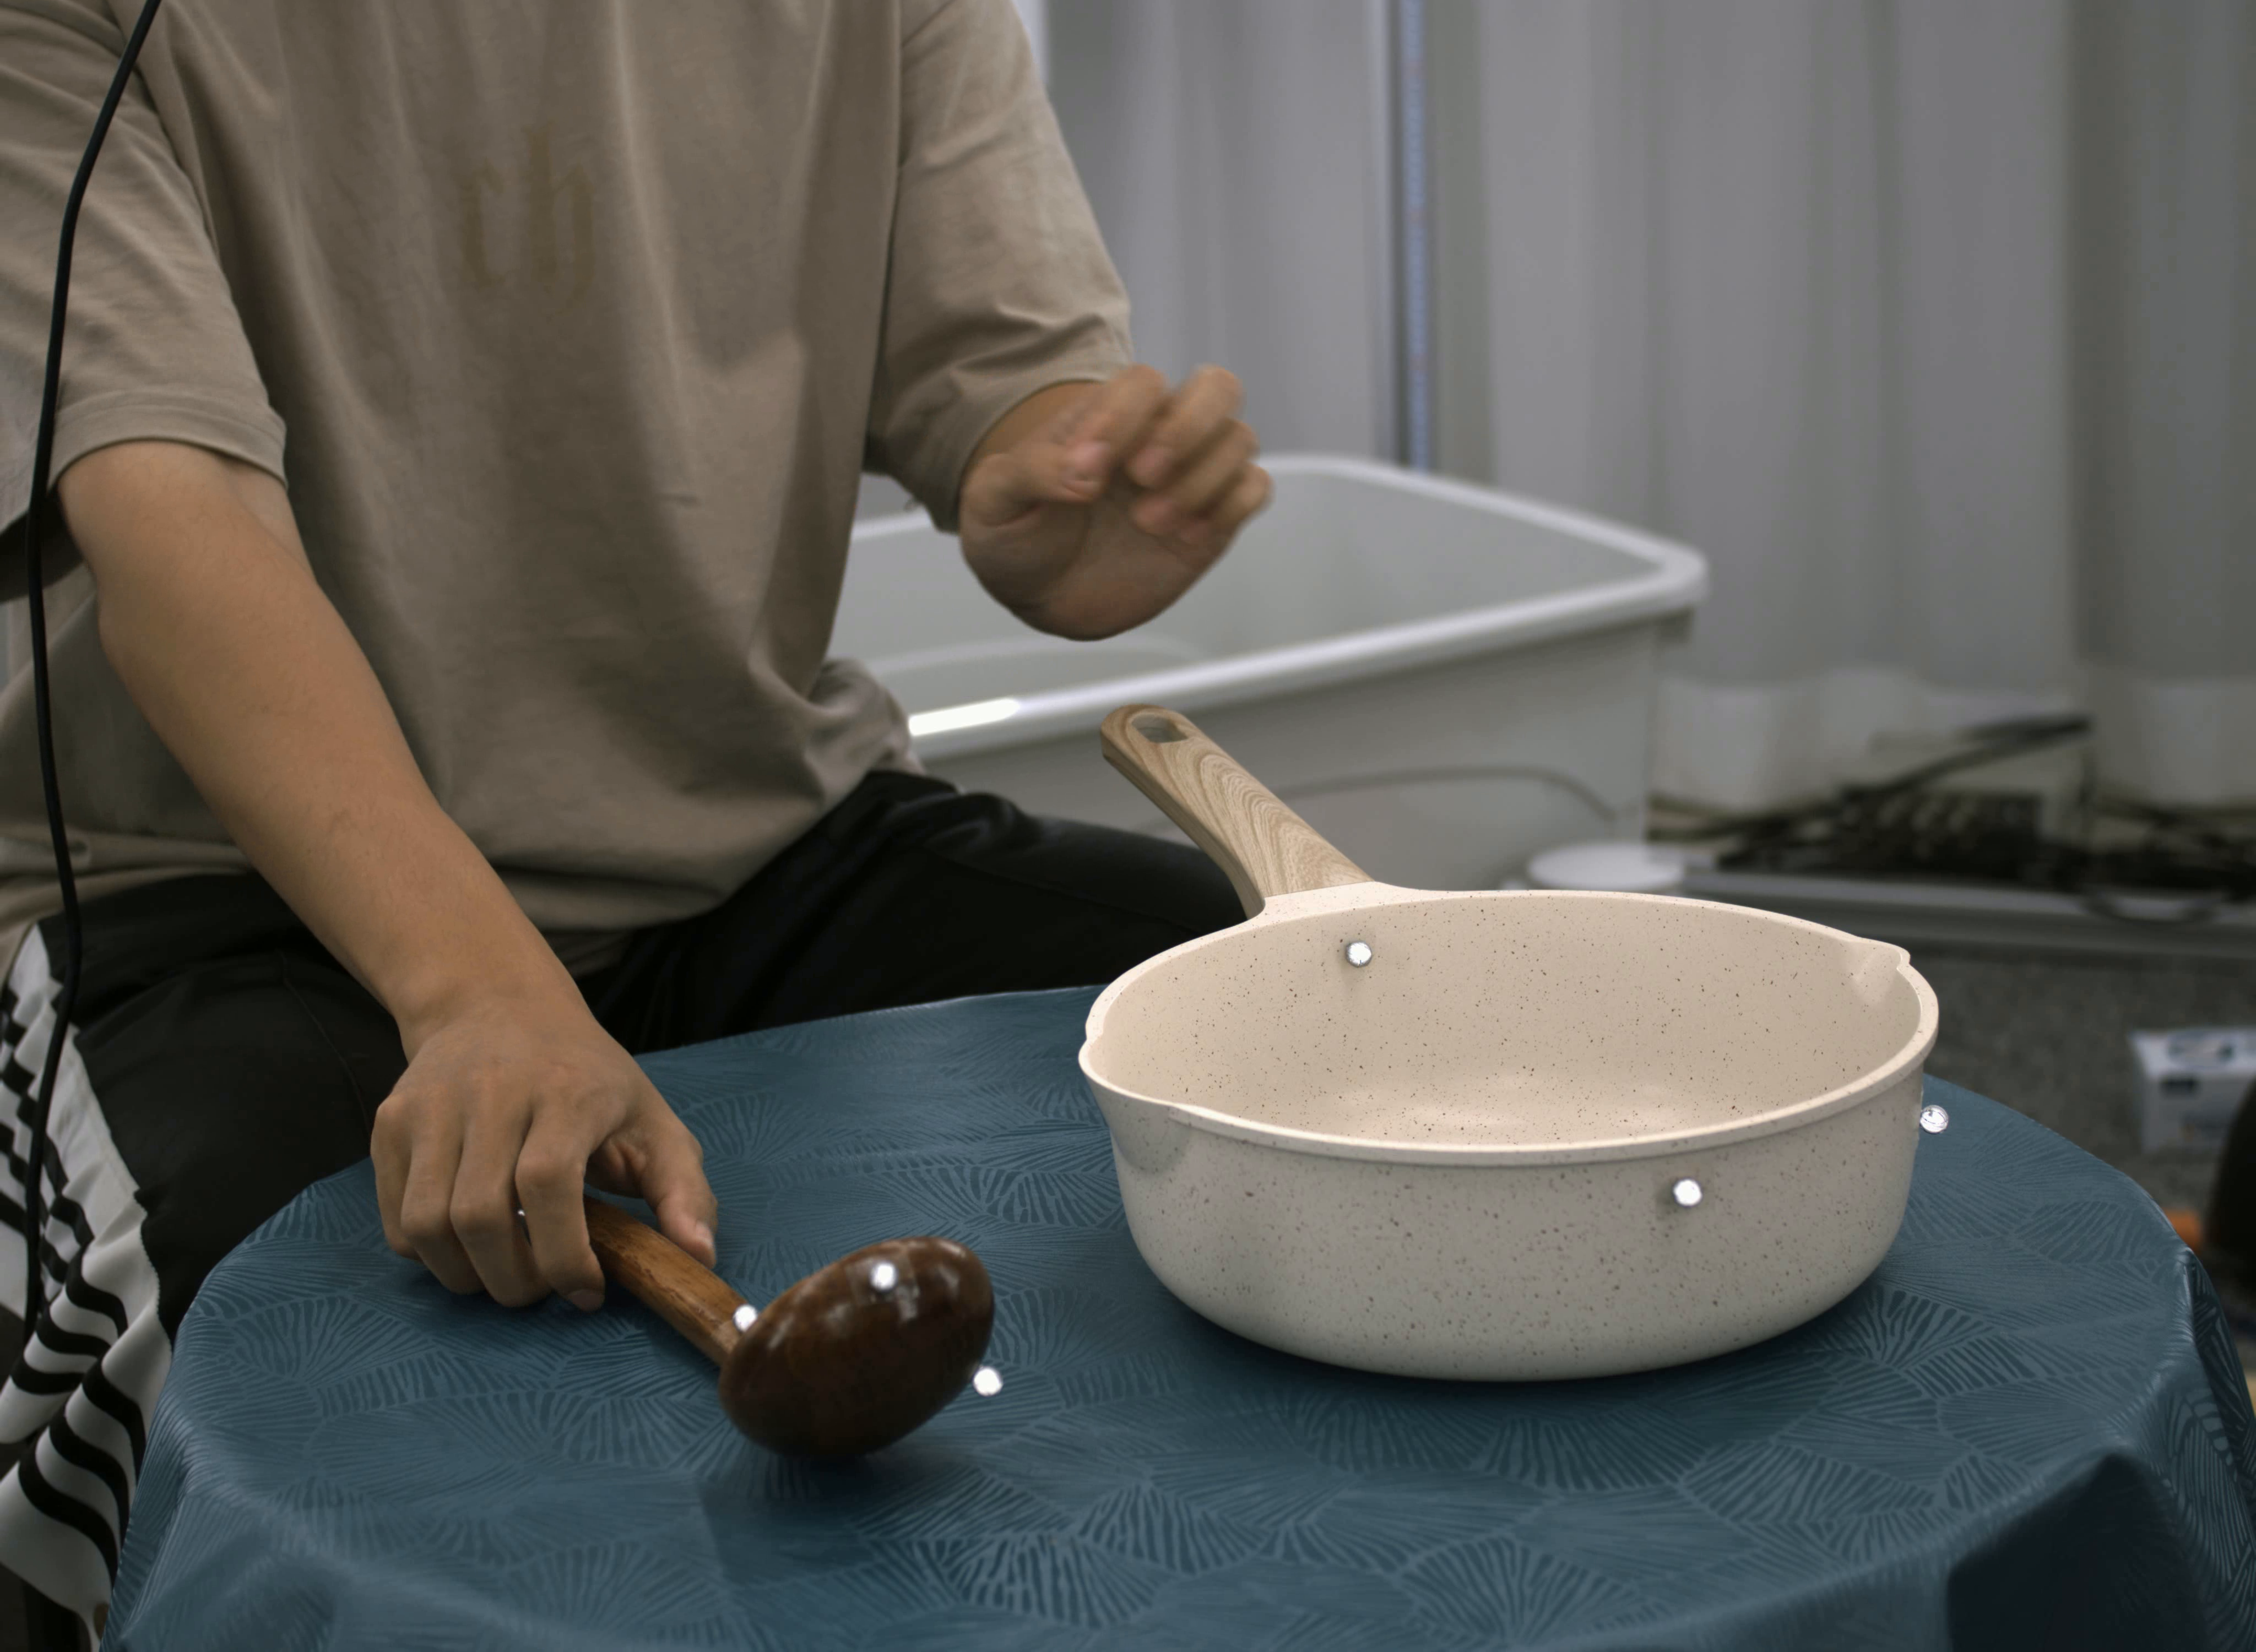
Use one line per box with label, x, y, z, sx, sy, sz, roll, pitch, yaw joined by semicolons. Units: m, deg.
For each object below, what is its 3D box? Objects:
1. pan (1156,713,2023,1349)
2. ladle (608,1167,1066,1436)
pan;0.106;0.057;1.705;0.262;0.101;0.438;-10;16;-19
ladle;-0.100;0.113;1.573;0.081;0.076;0.276;-12;18;-23
